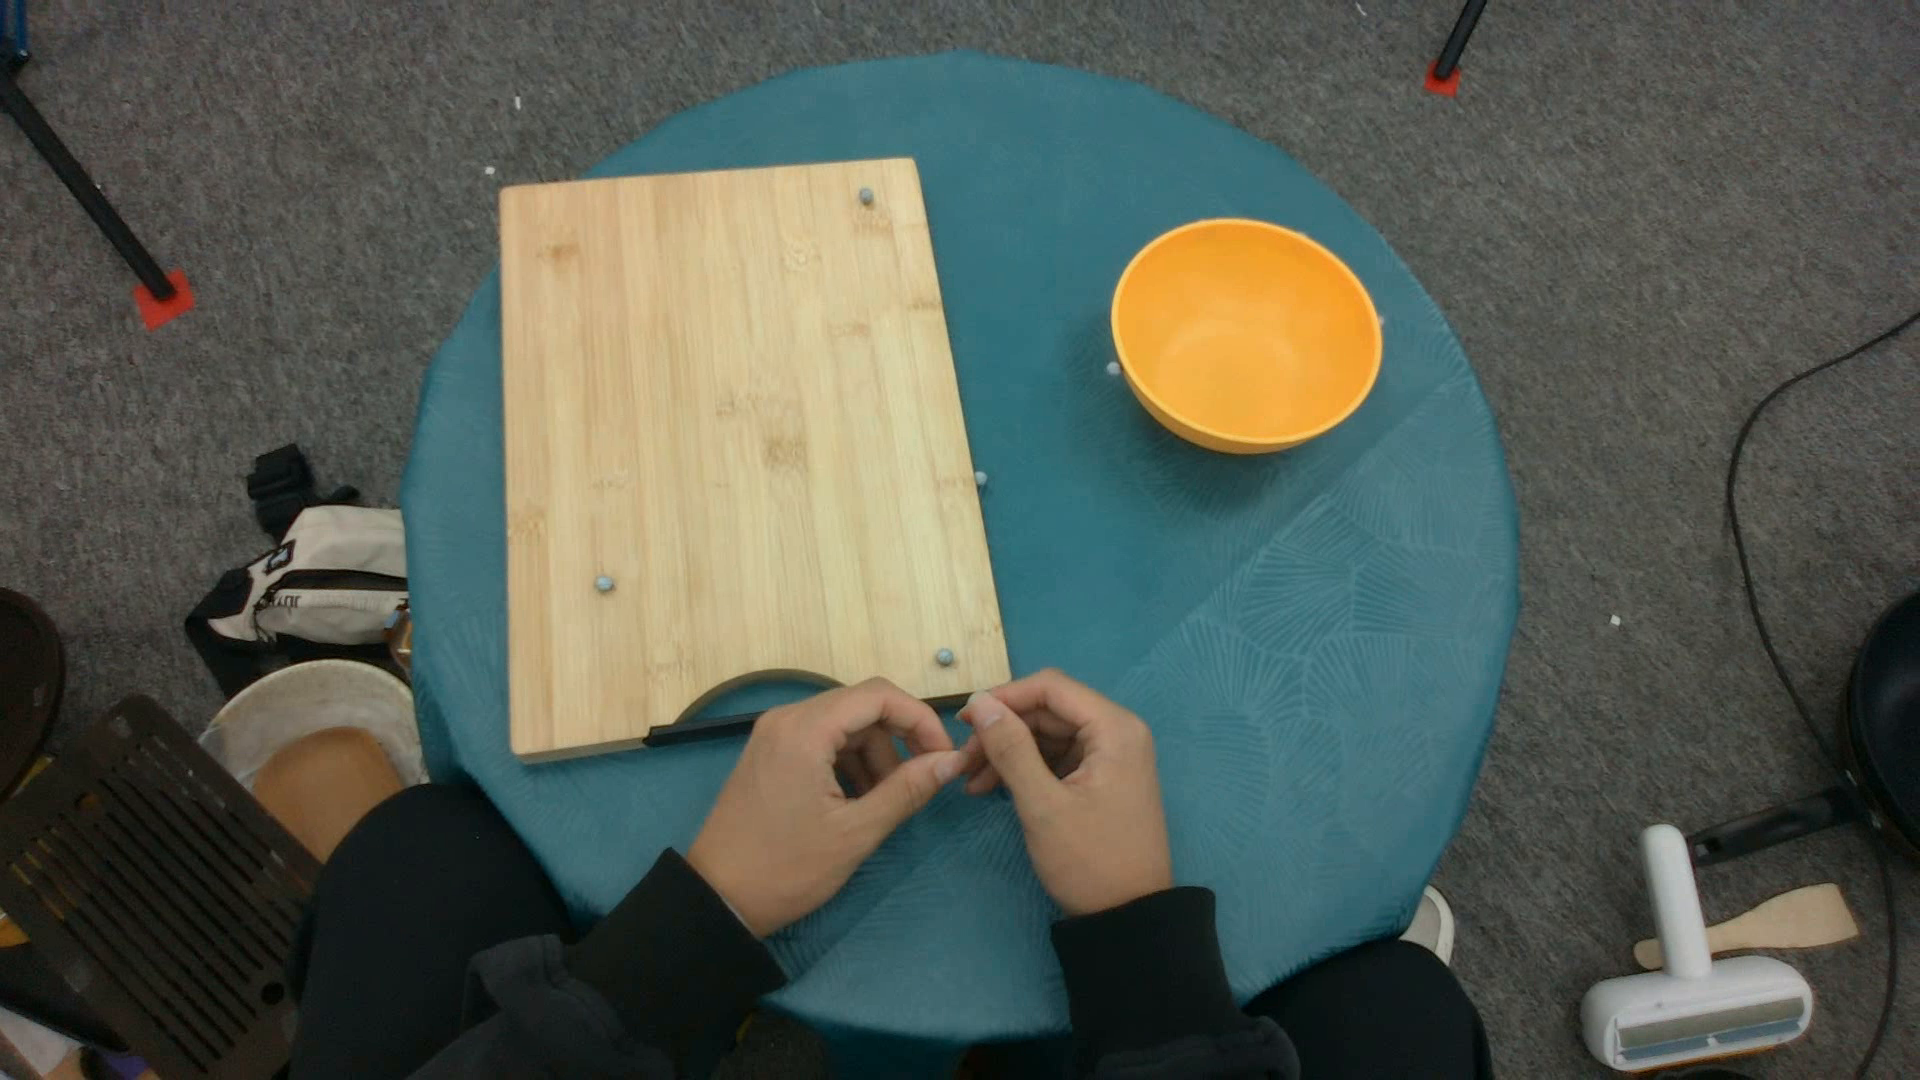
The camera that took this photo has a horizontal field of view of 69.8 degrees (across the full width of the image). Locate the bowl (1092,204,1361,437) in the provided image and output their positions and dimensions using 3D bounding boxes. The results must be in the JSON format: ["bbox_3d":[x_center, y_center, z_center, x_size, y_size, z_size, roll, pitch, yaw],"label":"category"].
[{"bbox_3d":[0.142,-0.111,0.763,0.145,0.060,0.146,1,65,-2],"label":"bowl"}]

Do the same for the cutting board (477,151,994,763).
[{"bbox_3d":[-0.130,-0.065,0.738,0.251,0.023,0.349,-8,65,-9],"label":"cutting board"}]
